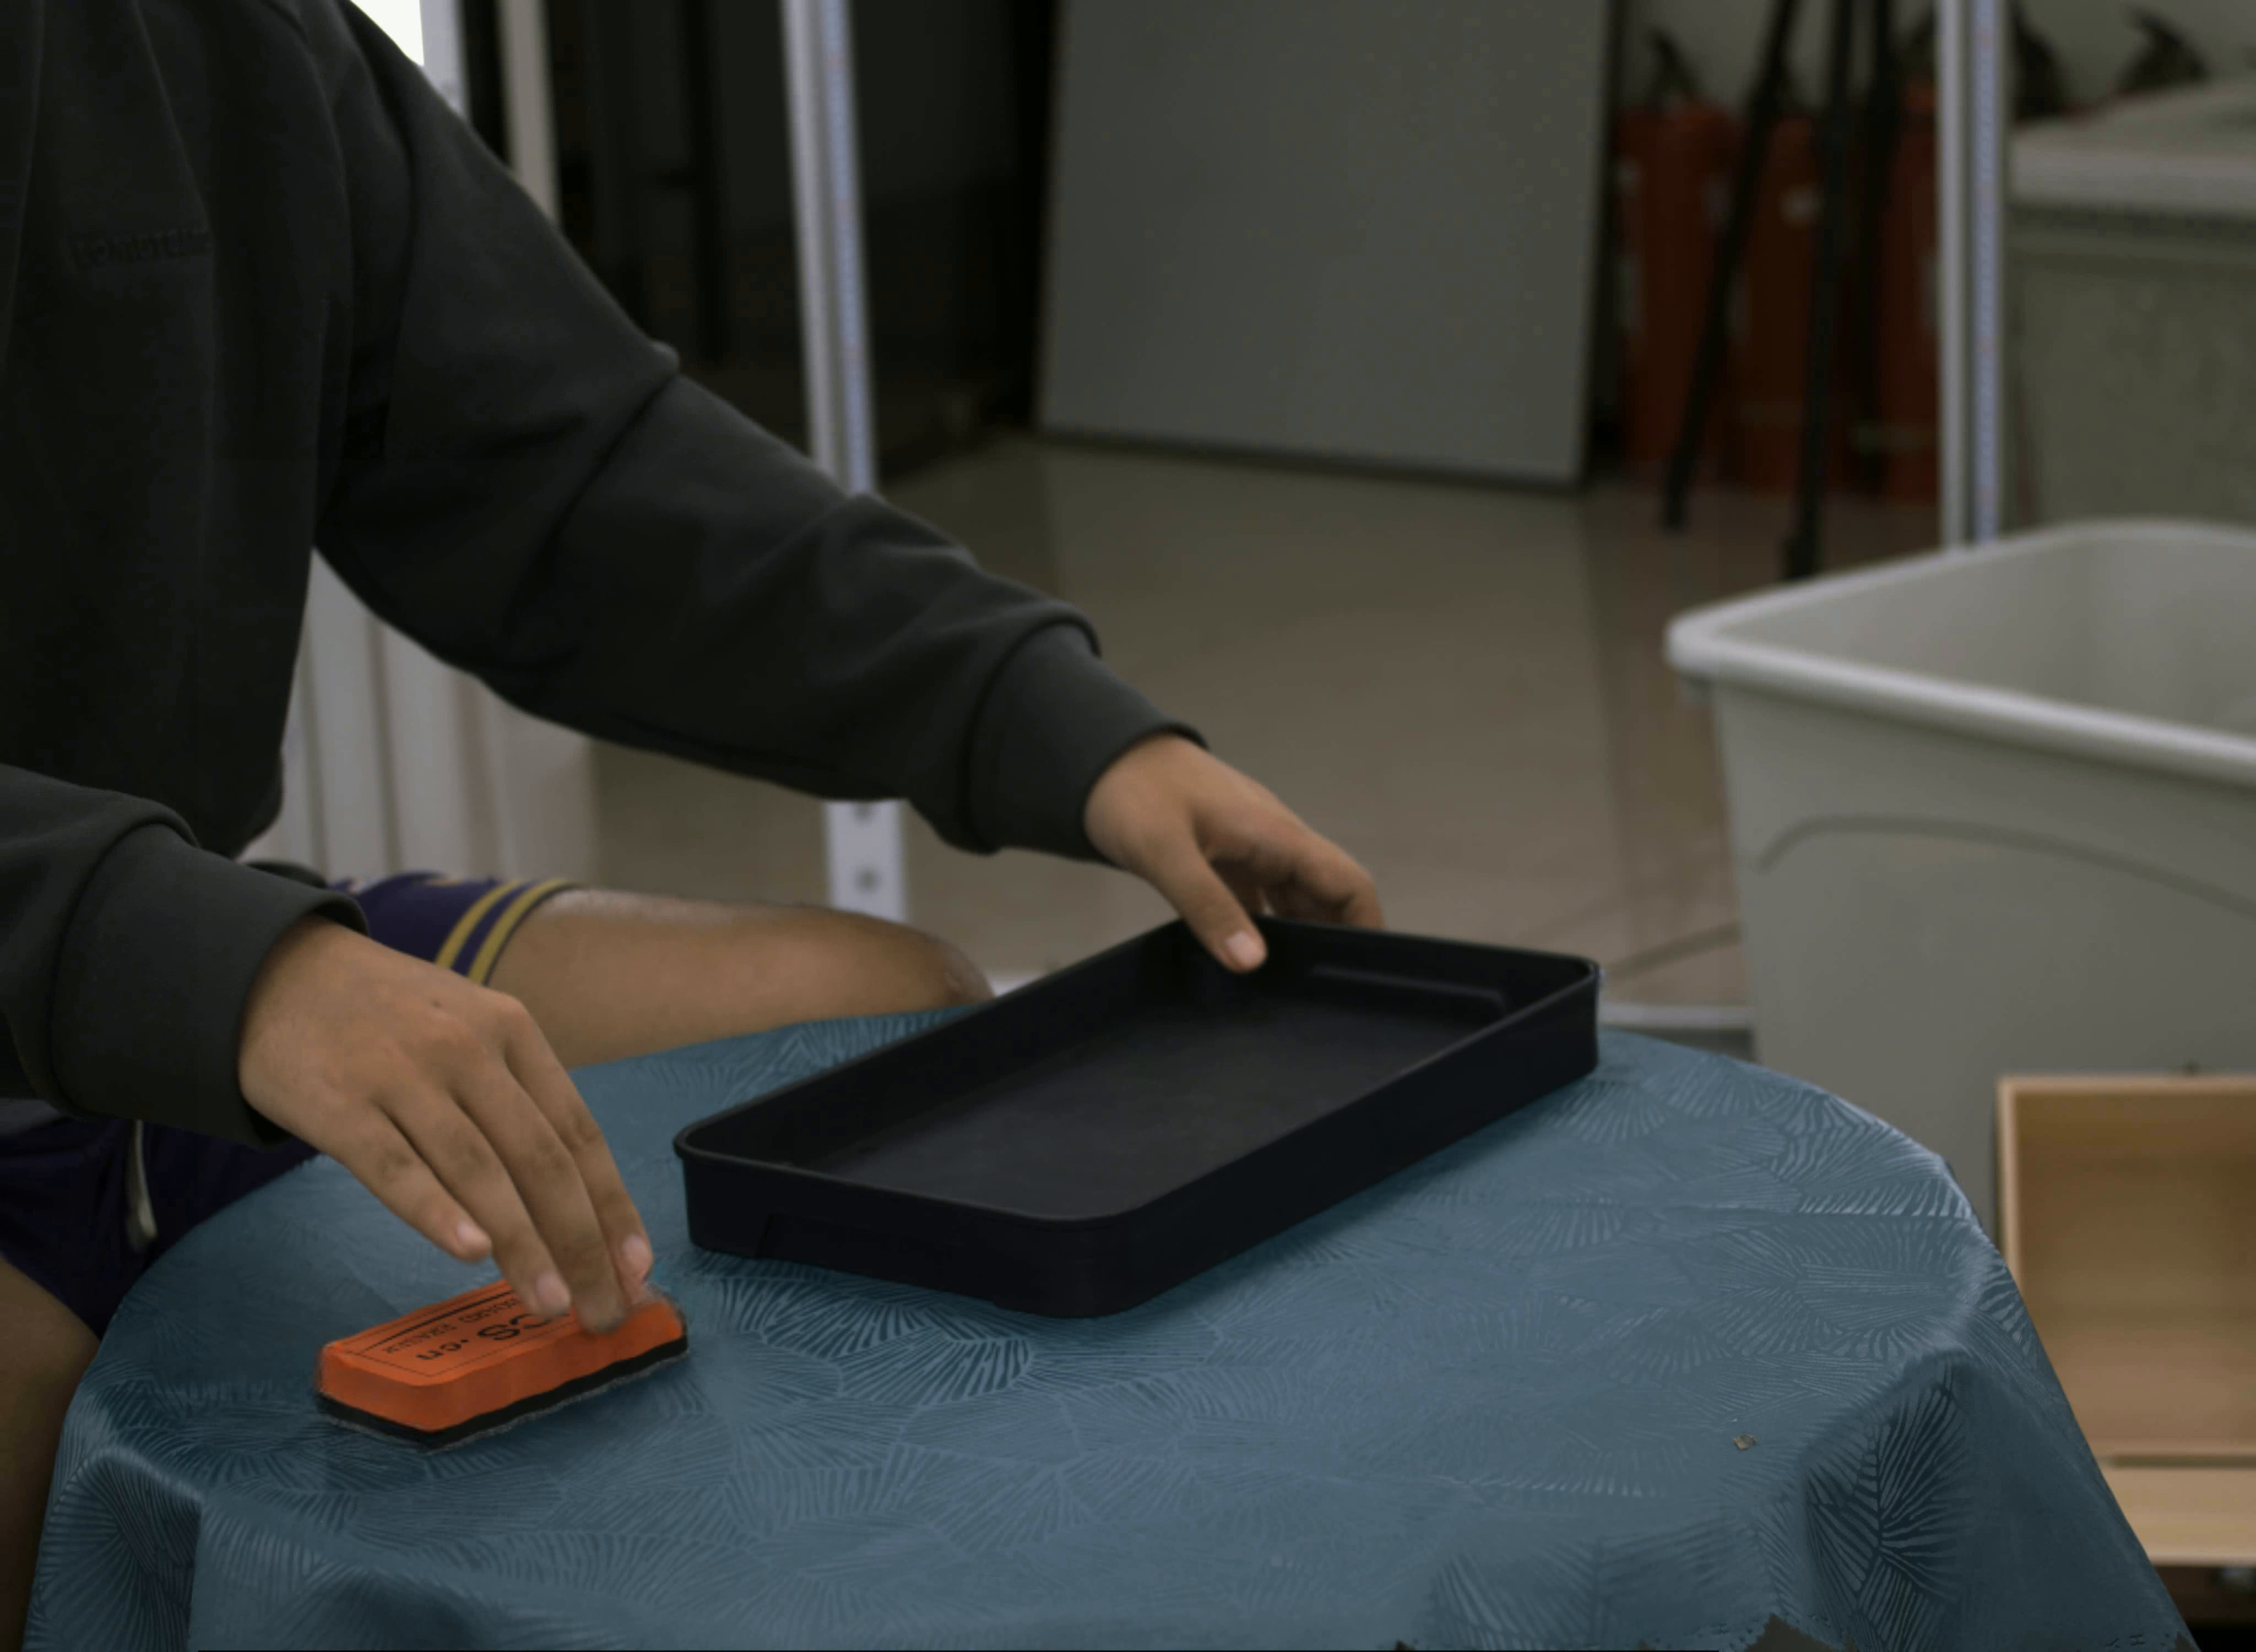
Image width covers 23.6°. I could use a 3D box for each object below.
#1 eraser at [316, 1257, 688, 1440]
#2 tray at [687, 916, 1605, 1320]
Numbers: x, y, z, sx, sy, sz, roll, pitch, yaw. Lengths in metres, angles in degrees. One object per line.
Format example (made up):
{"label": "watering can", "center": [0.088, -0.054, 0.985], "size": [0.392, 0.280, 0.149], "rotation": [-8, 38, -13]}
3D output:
{"label": "eraser", "center": [-0.186, 0.155, 1.619], "size": [0.059, 0.023, 0.106], "rotation": [-1, 13, 45]}
{"label": "tray", "center": [0.013, 0.092, 1.812], "size": [0.185, 0.037, 0.312], "rotation": [5, 17, 35]}
